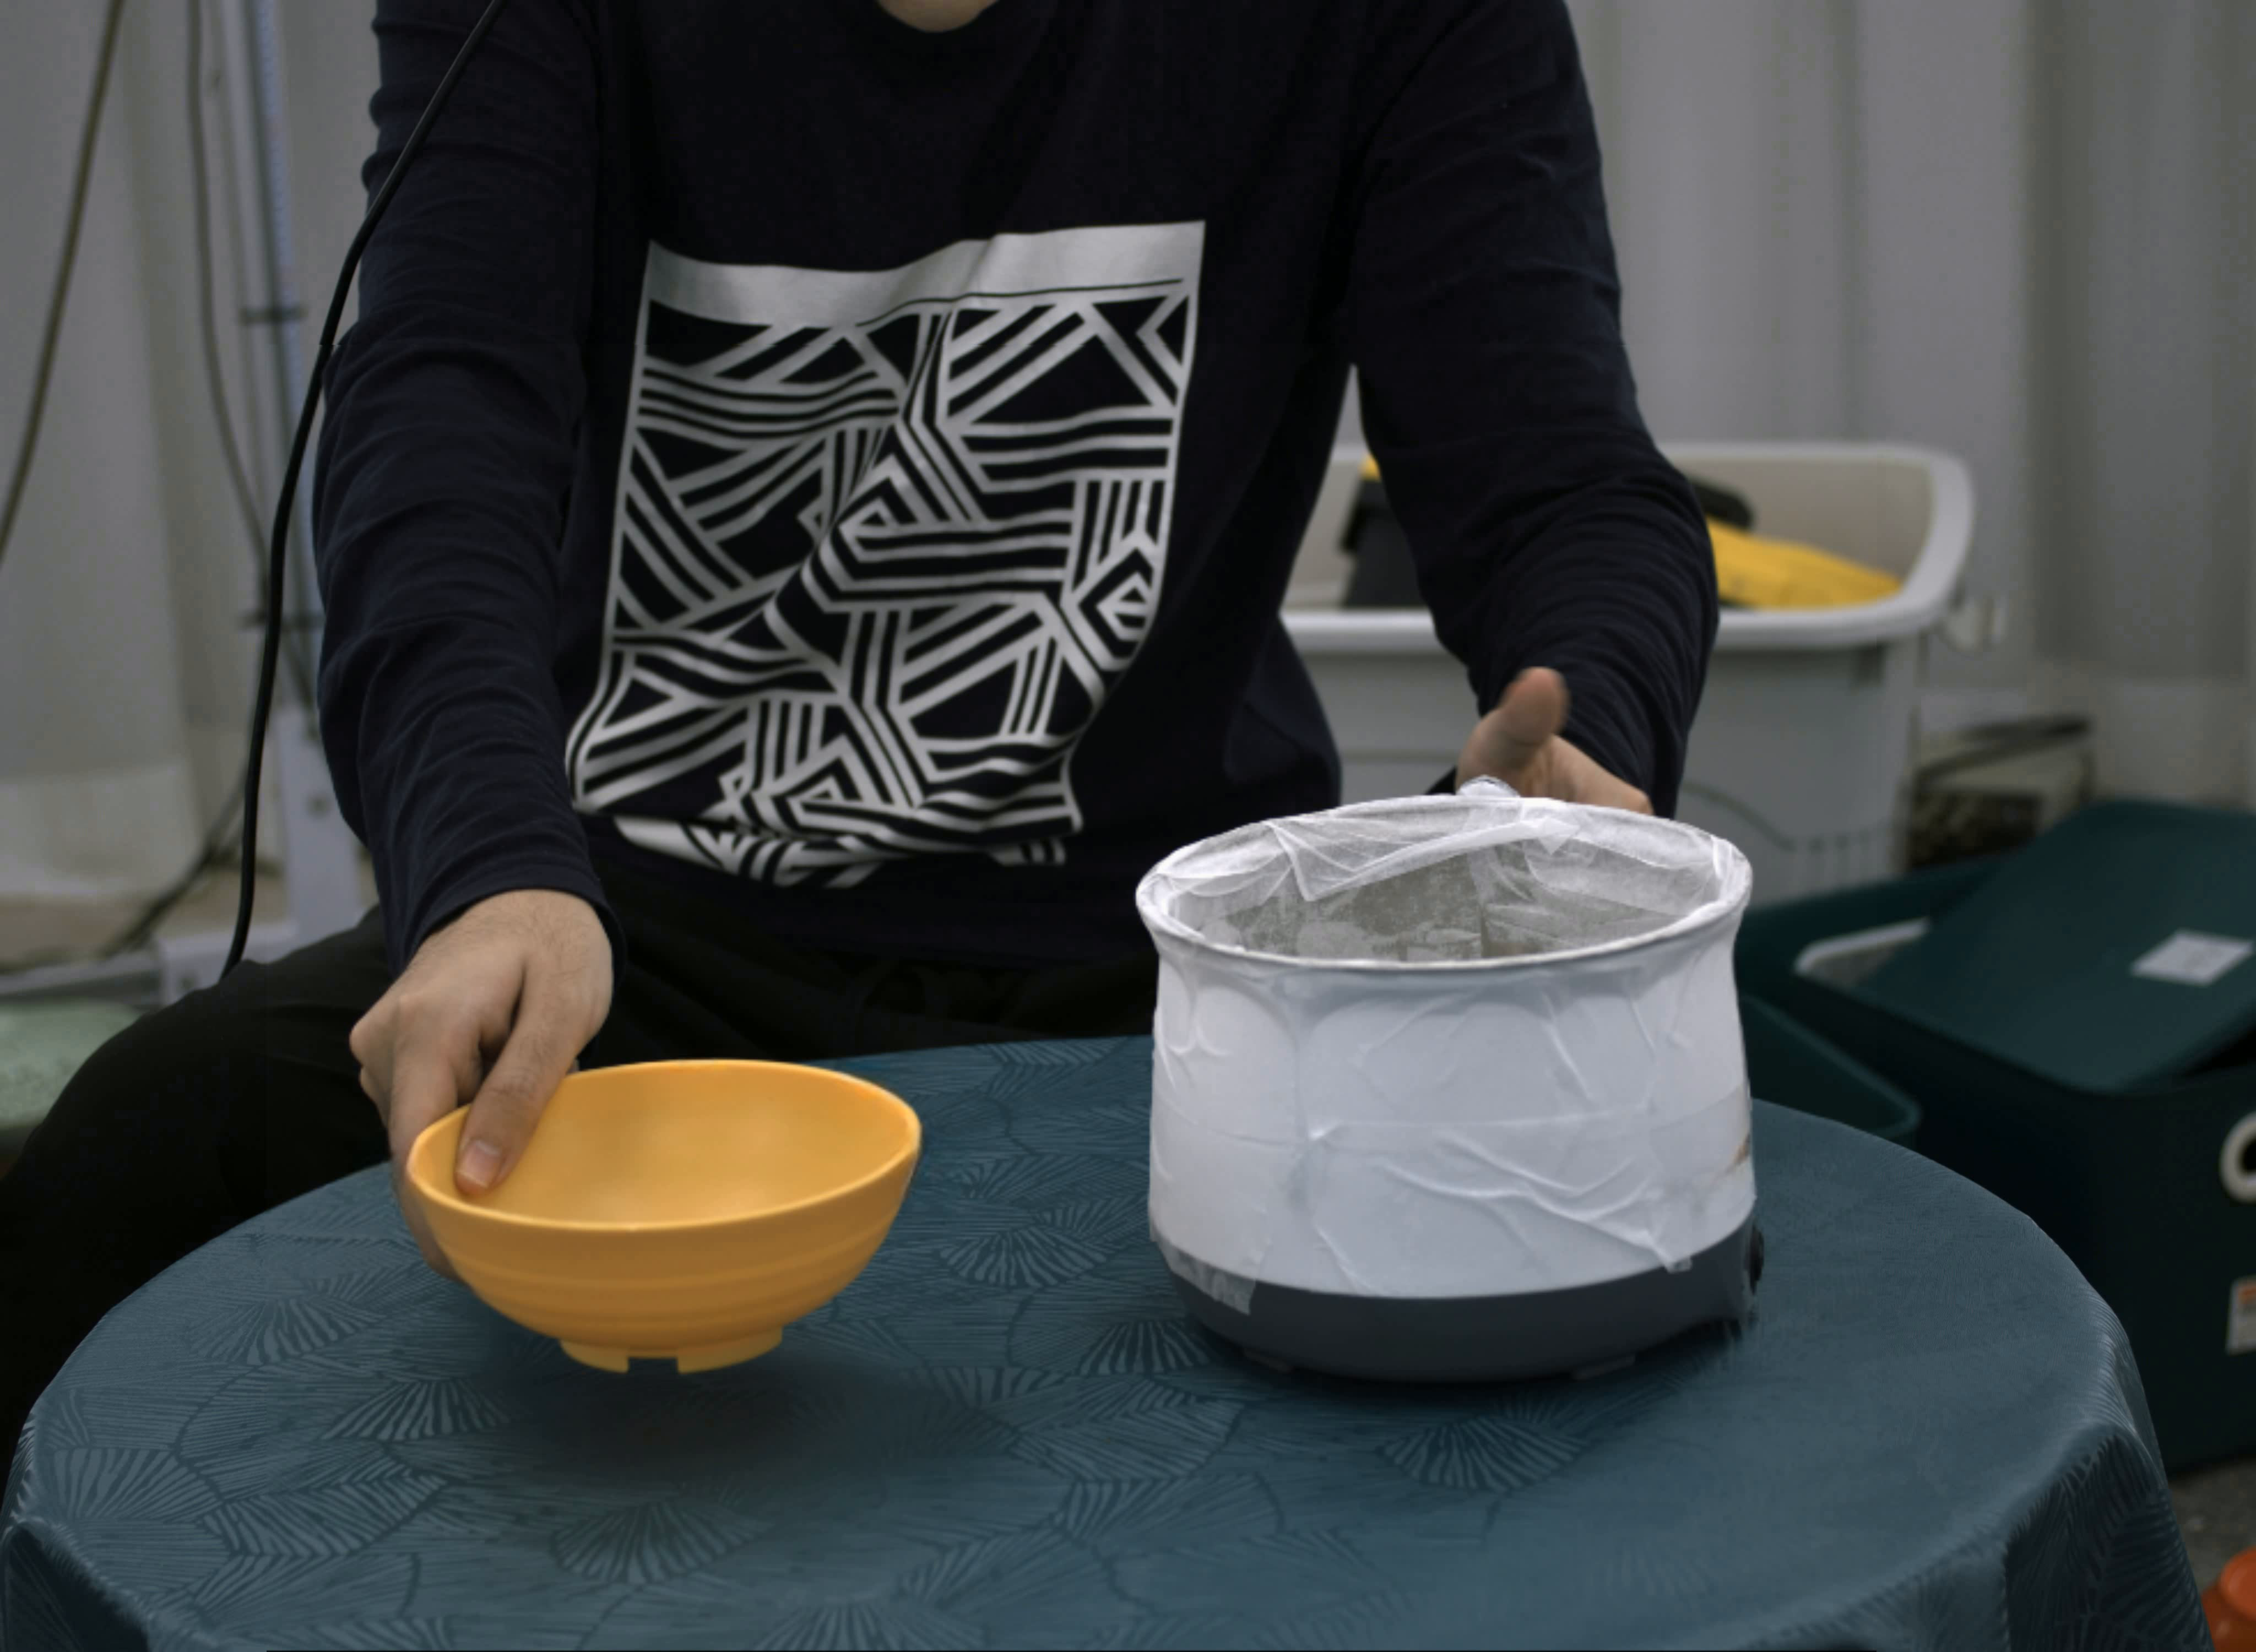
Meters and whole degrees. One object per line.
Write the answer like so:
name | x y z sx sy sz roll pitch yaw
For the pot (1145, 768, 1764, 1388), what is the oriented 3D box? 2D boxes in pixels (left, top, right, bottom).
pot | 0.097 0.068 1.606 0.178 0.136 0.235 3 16 9

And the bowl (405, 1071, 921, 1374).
bowl | -0.128 0.116 1.539 0.145 0.060 0.146 -3 13 0
